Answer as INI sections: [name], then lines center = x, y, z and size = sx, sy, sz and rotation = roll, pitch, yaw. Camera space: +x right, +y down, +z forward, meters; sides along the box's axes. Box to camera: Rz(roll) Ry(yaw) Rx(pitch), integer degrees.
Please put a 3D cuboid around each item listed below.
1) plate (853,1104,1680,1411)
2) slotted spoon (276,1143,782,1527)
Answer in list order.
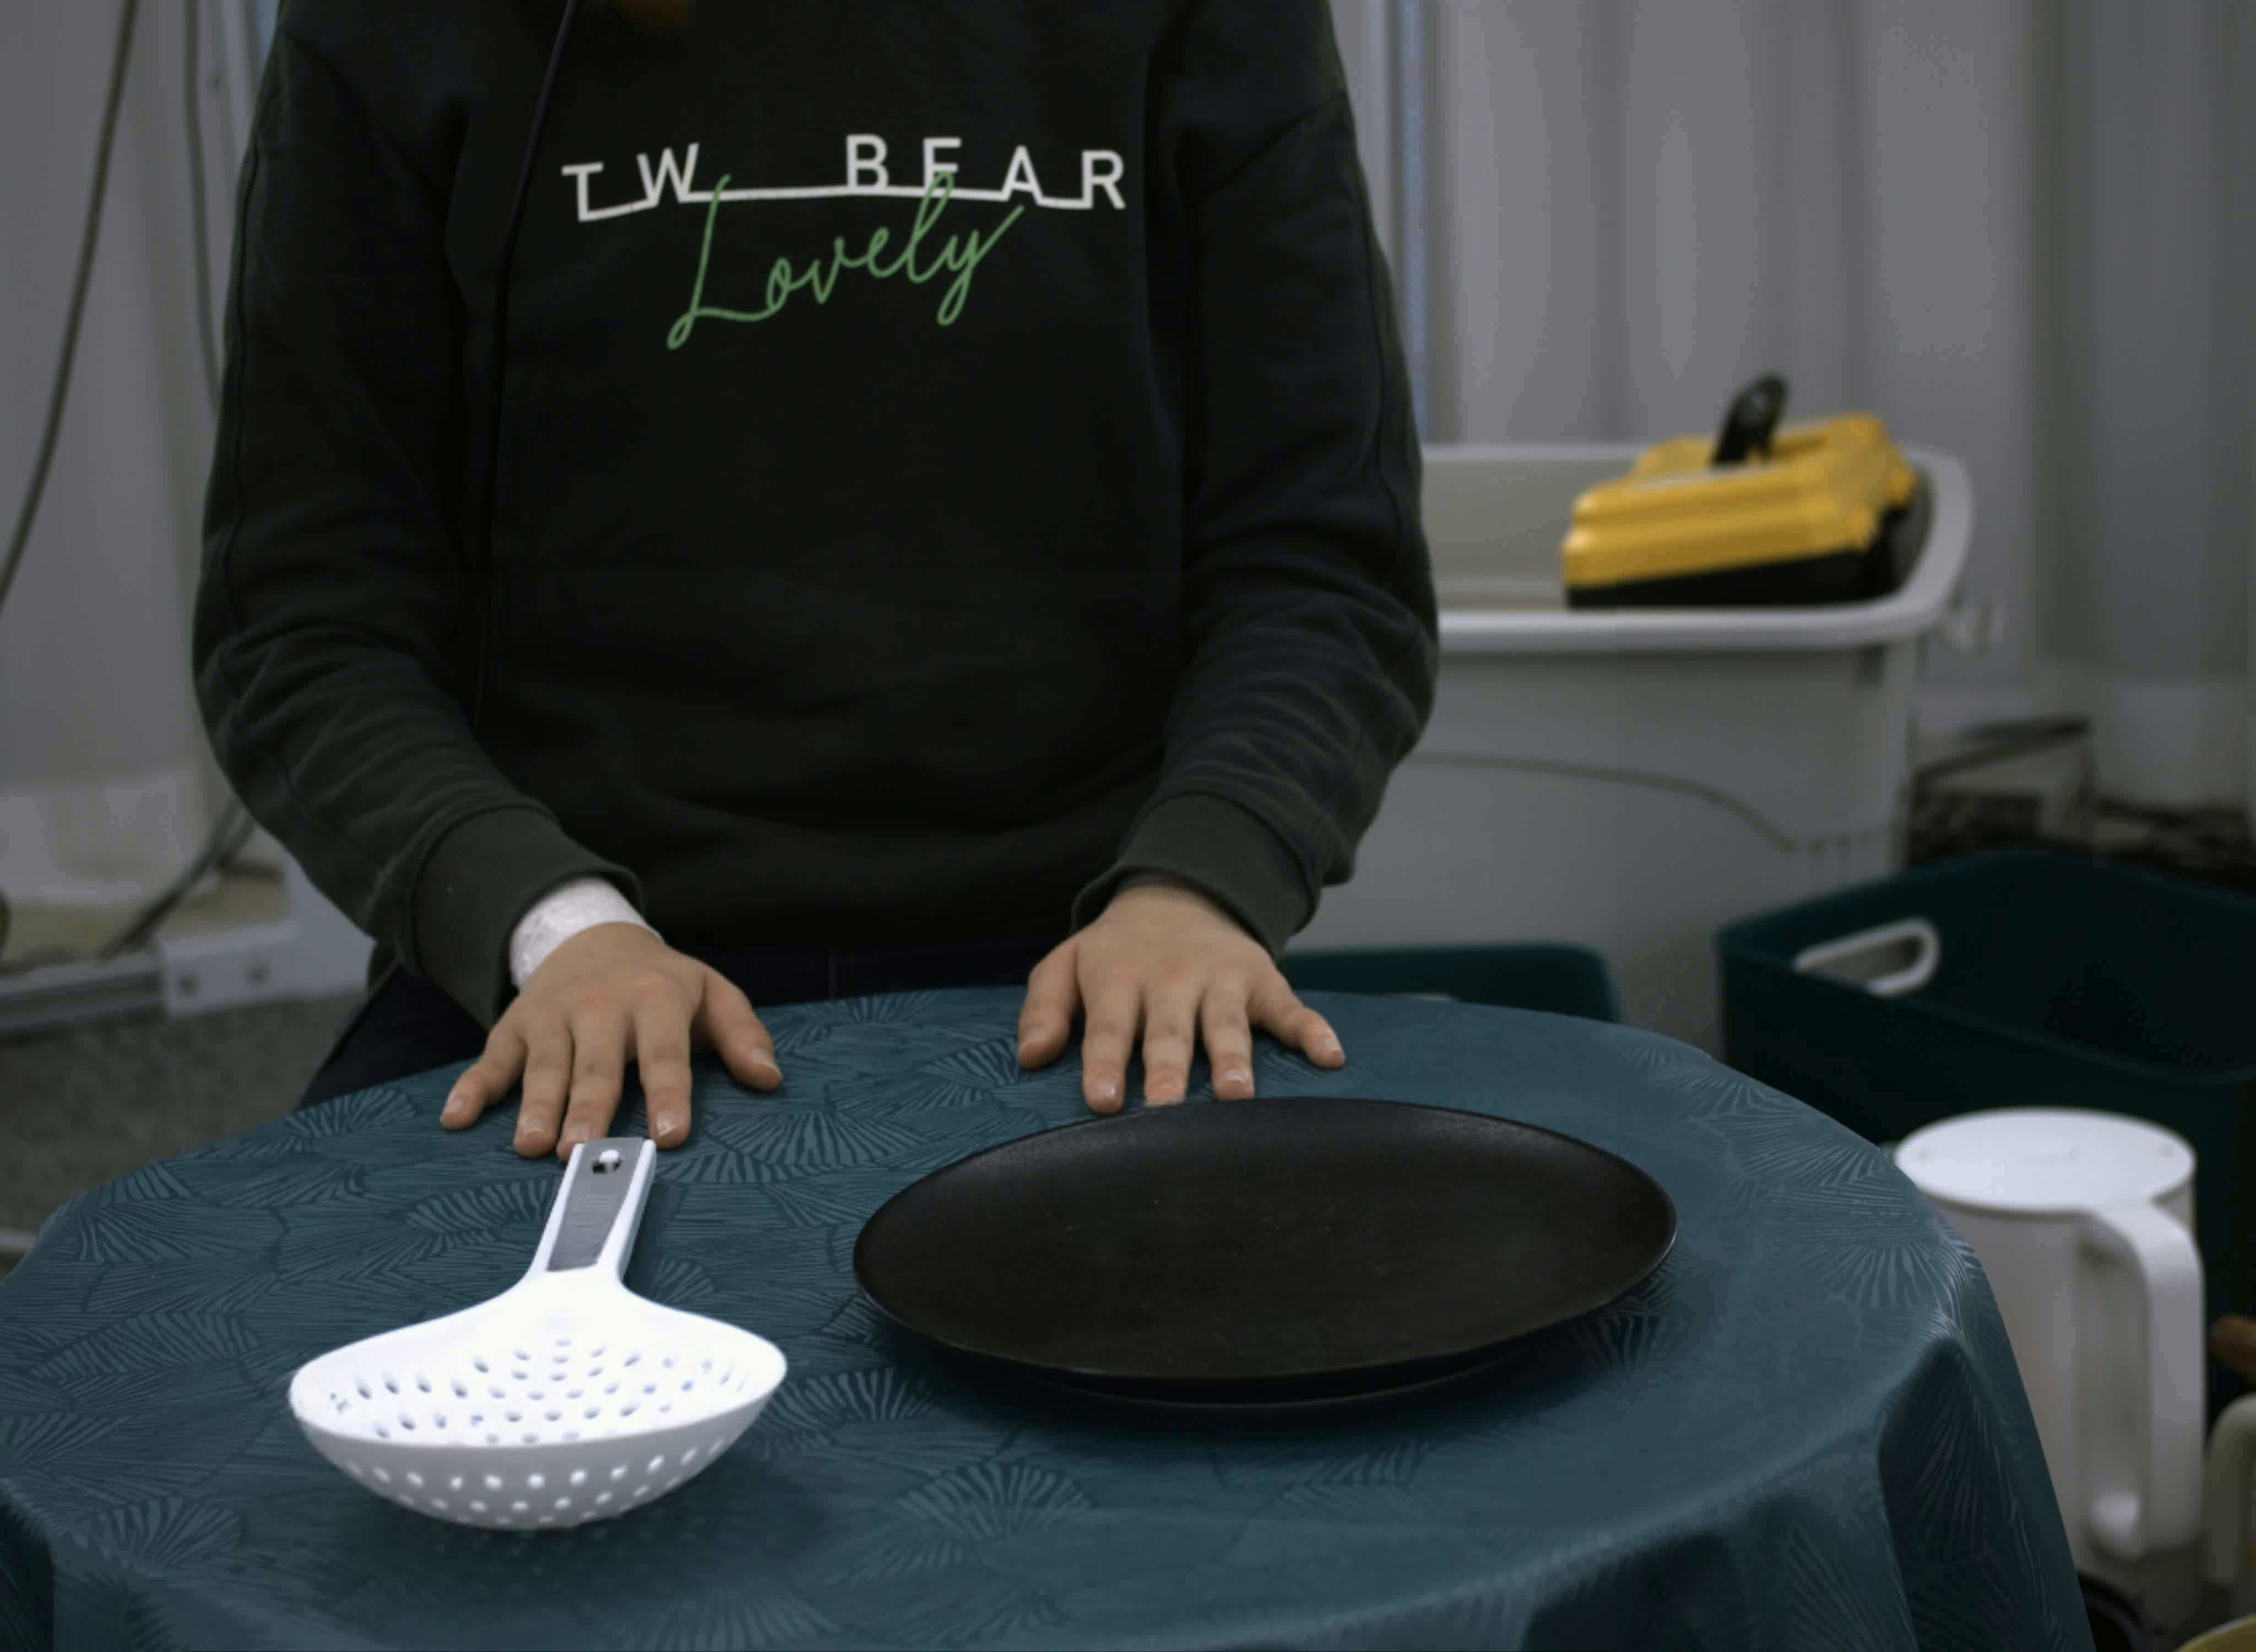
[plate]
center = 0.041, 0.129, 1.610
size = 0.243, 0.023, 0.246
rotation = -3, 15, 0
[slotted spoon]
center = -0.161, 0.137, 1.574
size = 0.135, 0.045, 0.352
rotation = -1, 14, 0
